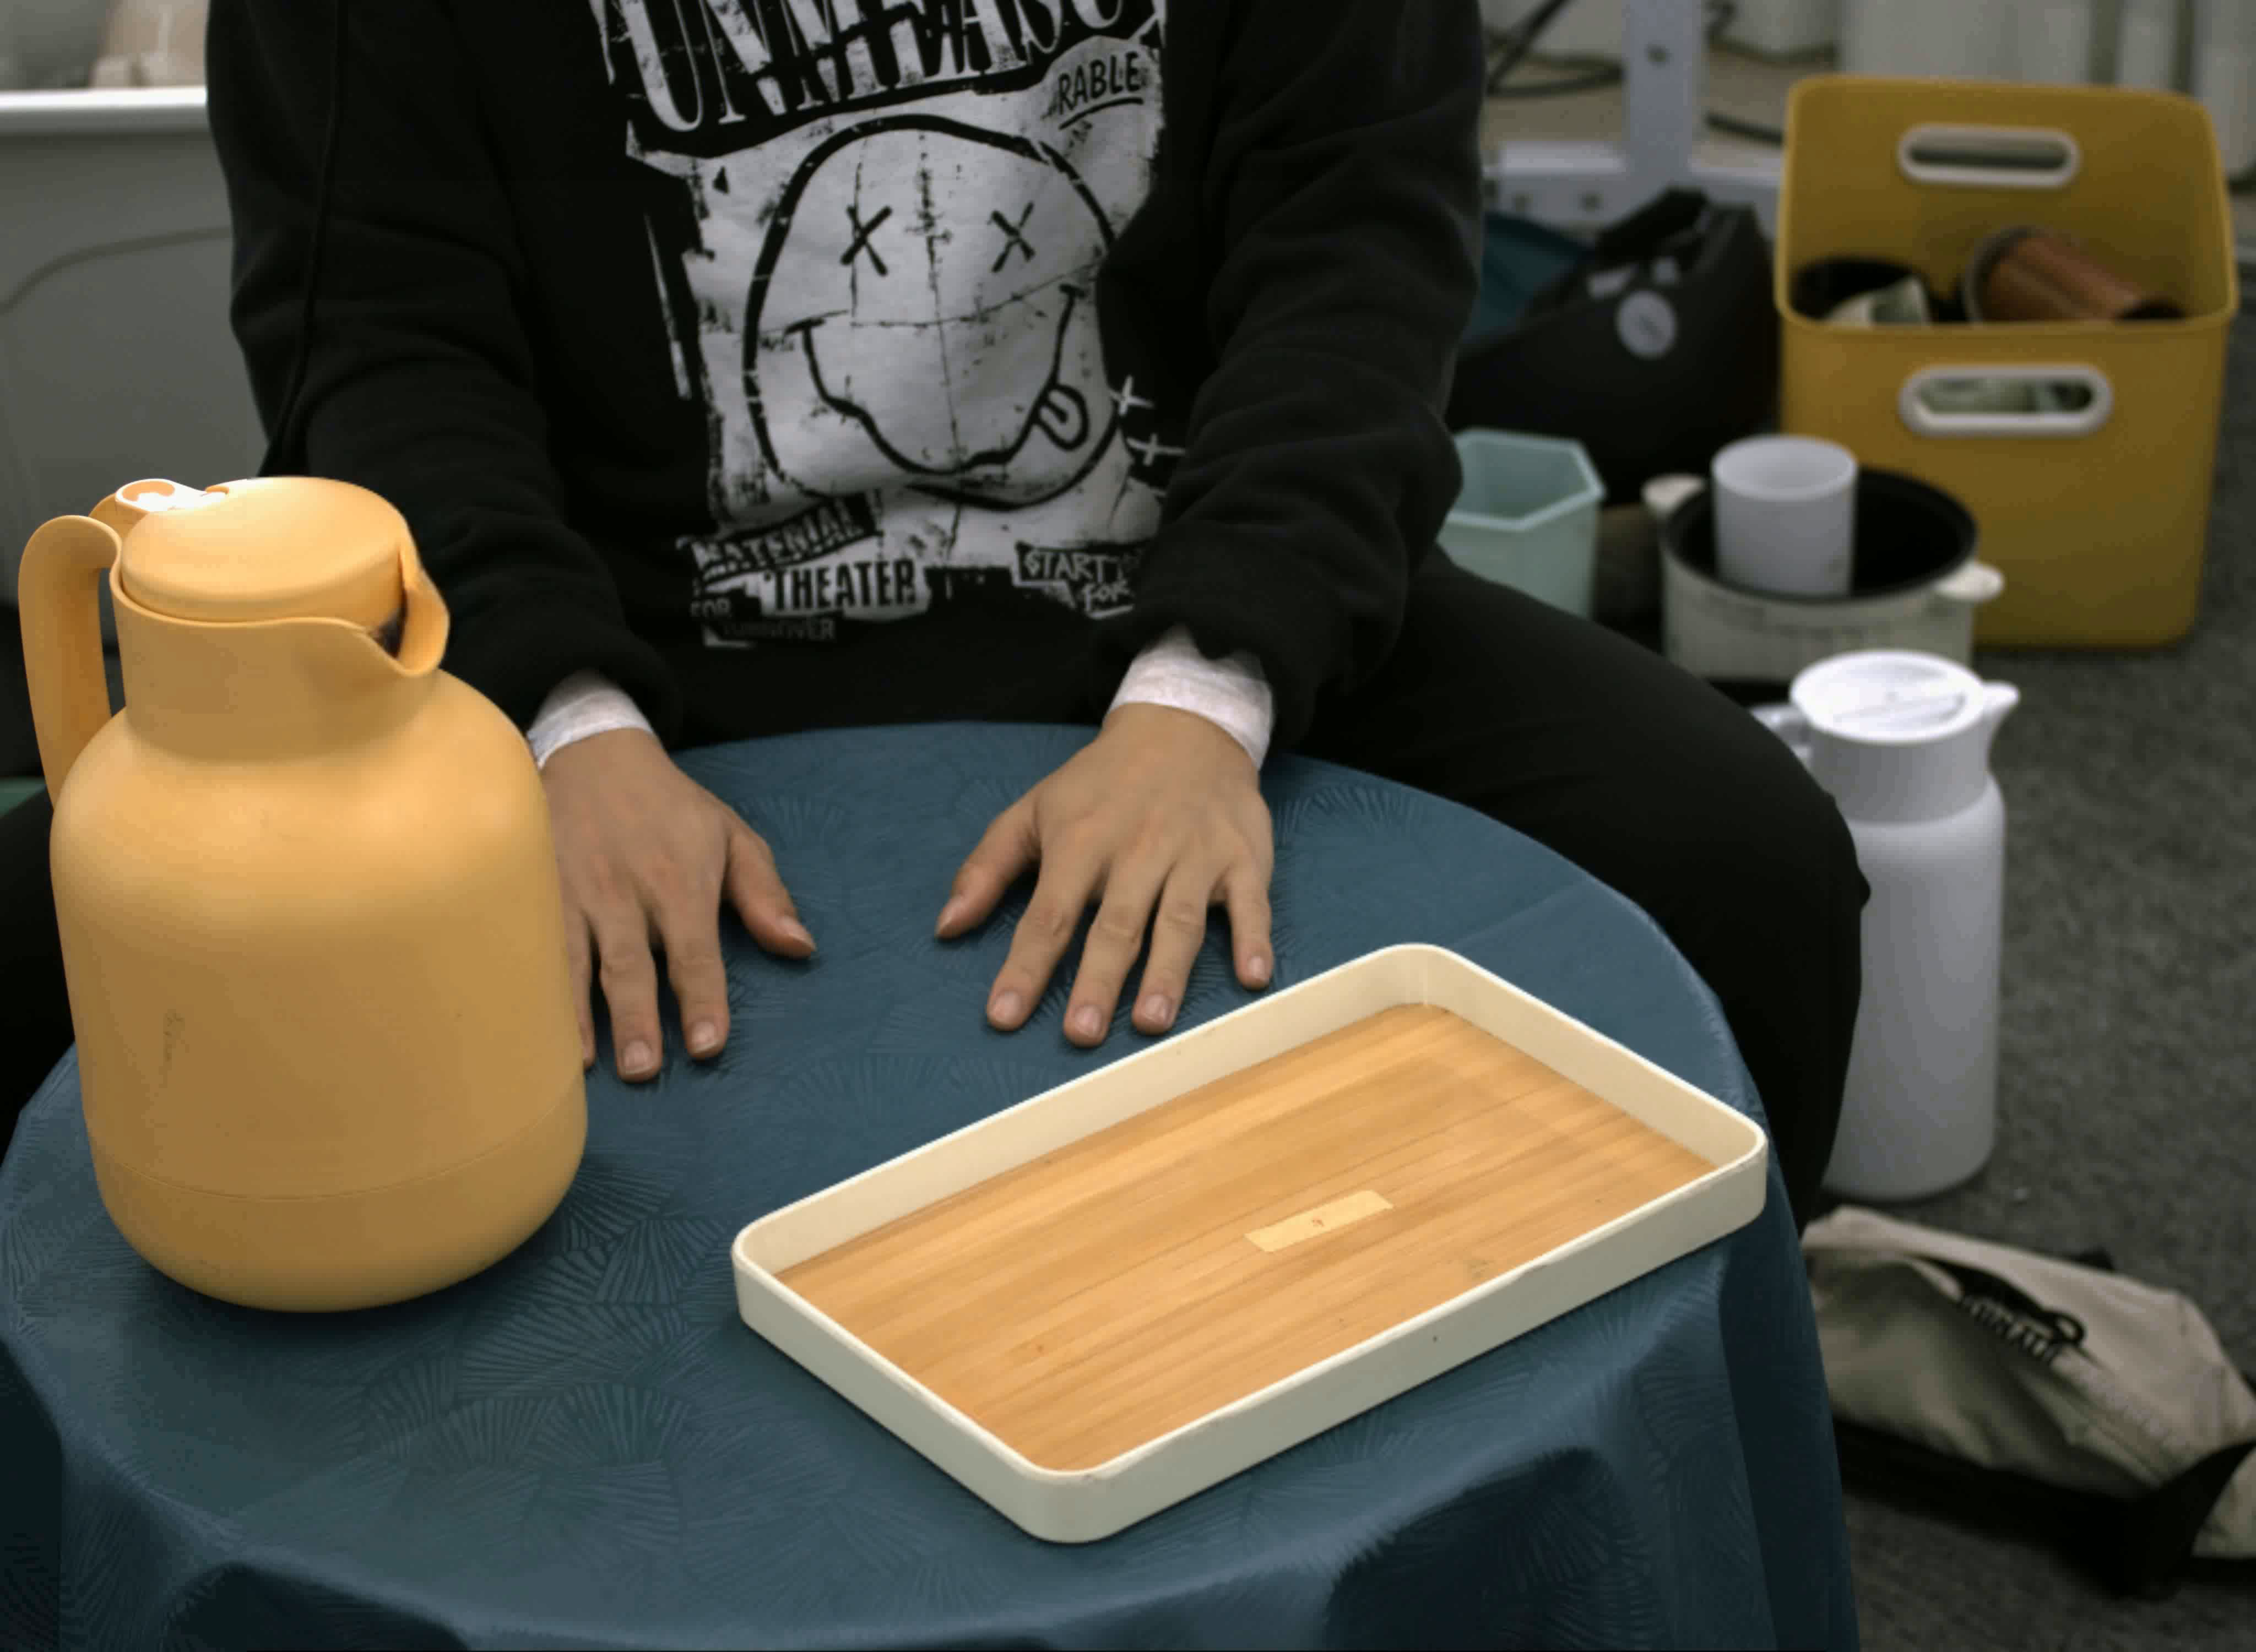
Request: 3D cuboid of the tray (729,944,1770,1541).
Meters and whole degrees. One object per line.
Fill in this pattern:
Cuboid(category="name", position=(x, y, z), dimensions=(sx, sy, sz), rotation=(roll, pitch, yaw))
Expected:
Cuboid(category="tray", position=(0.040, 0.128, 1.813), dimensions=(0.303, 0.027, 0.192), rotation=(-21, 33, -32))

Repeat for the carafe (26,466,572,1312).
Cuboid(category="carafe", position=(-0.278, 0.010, 1.821), dimensions=(0.202, 0.258, 0.165), rotation=(23, 33, 39))
